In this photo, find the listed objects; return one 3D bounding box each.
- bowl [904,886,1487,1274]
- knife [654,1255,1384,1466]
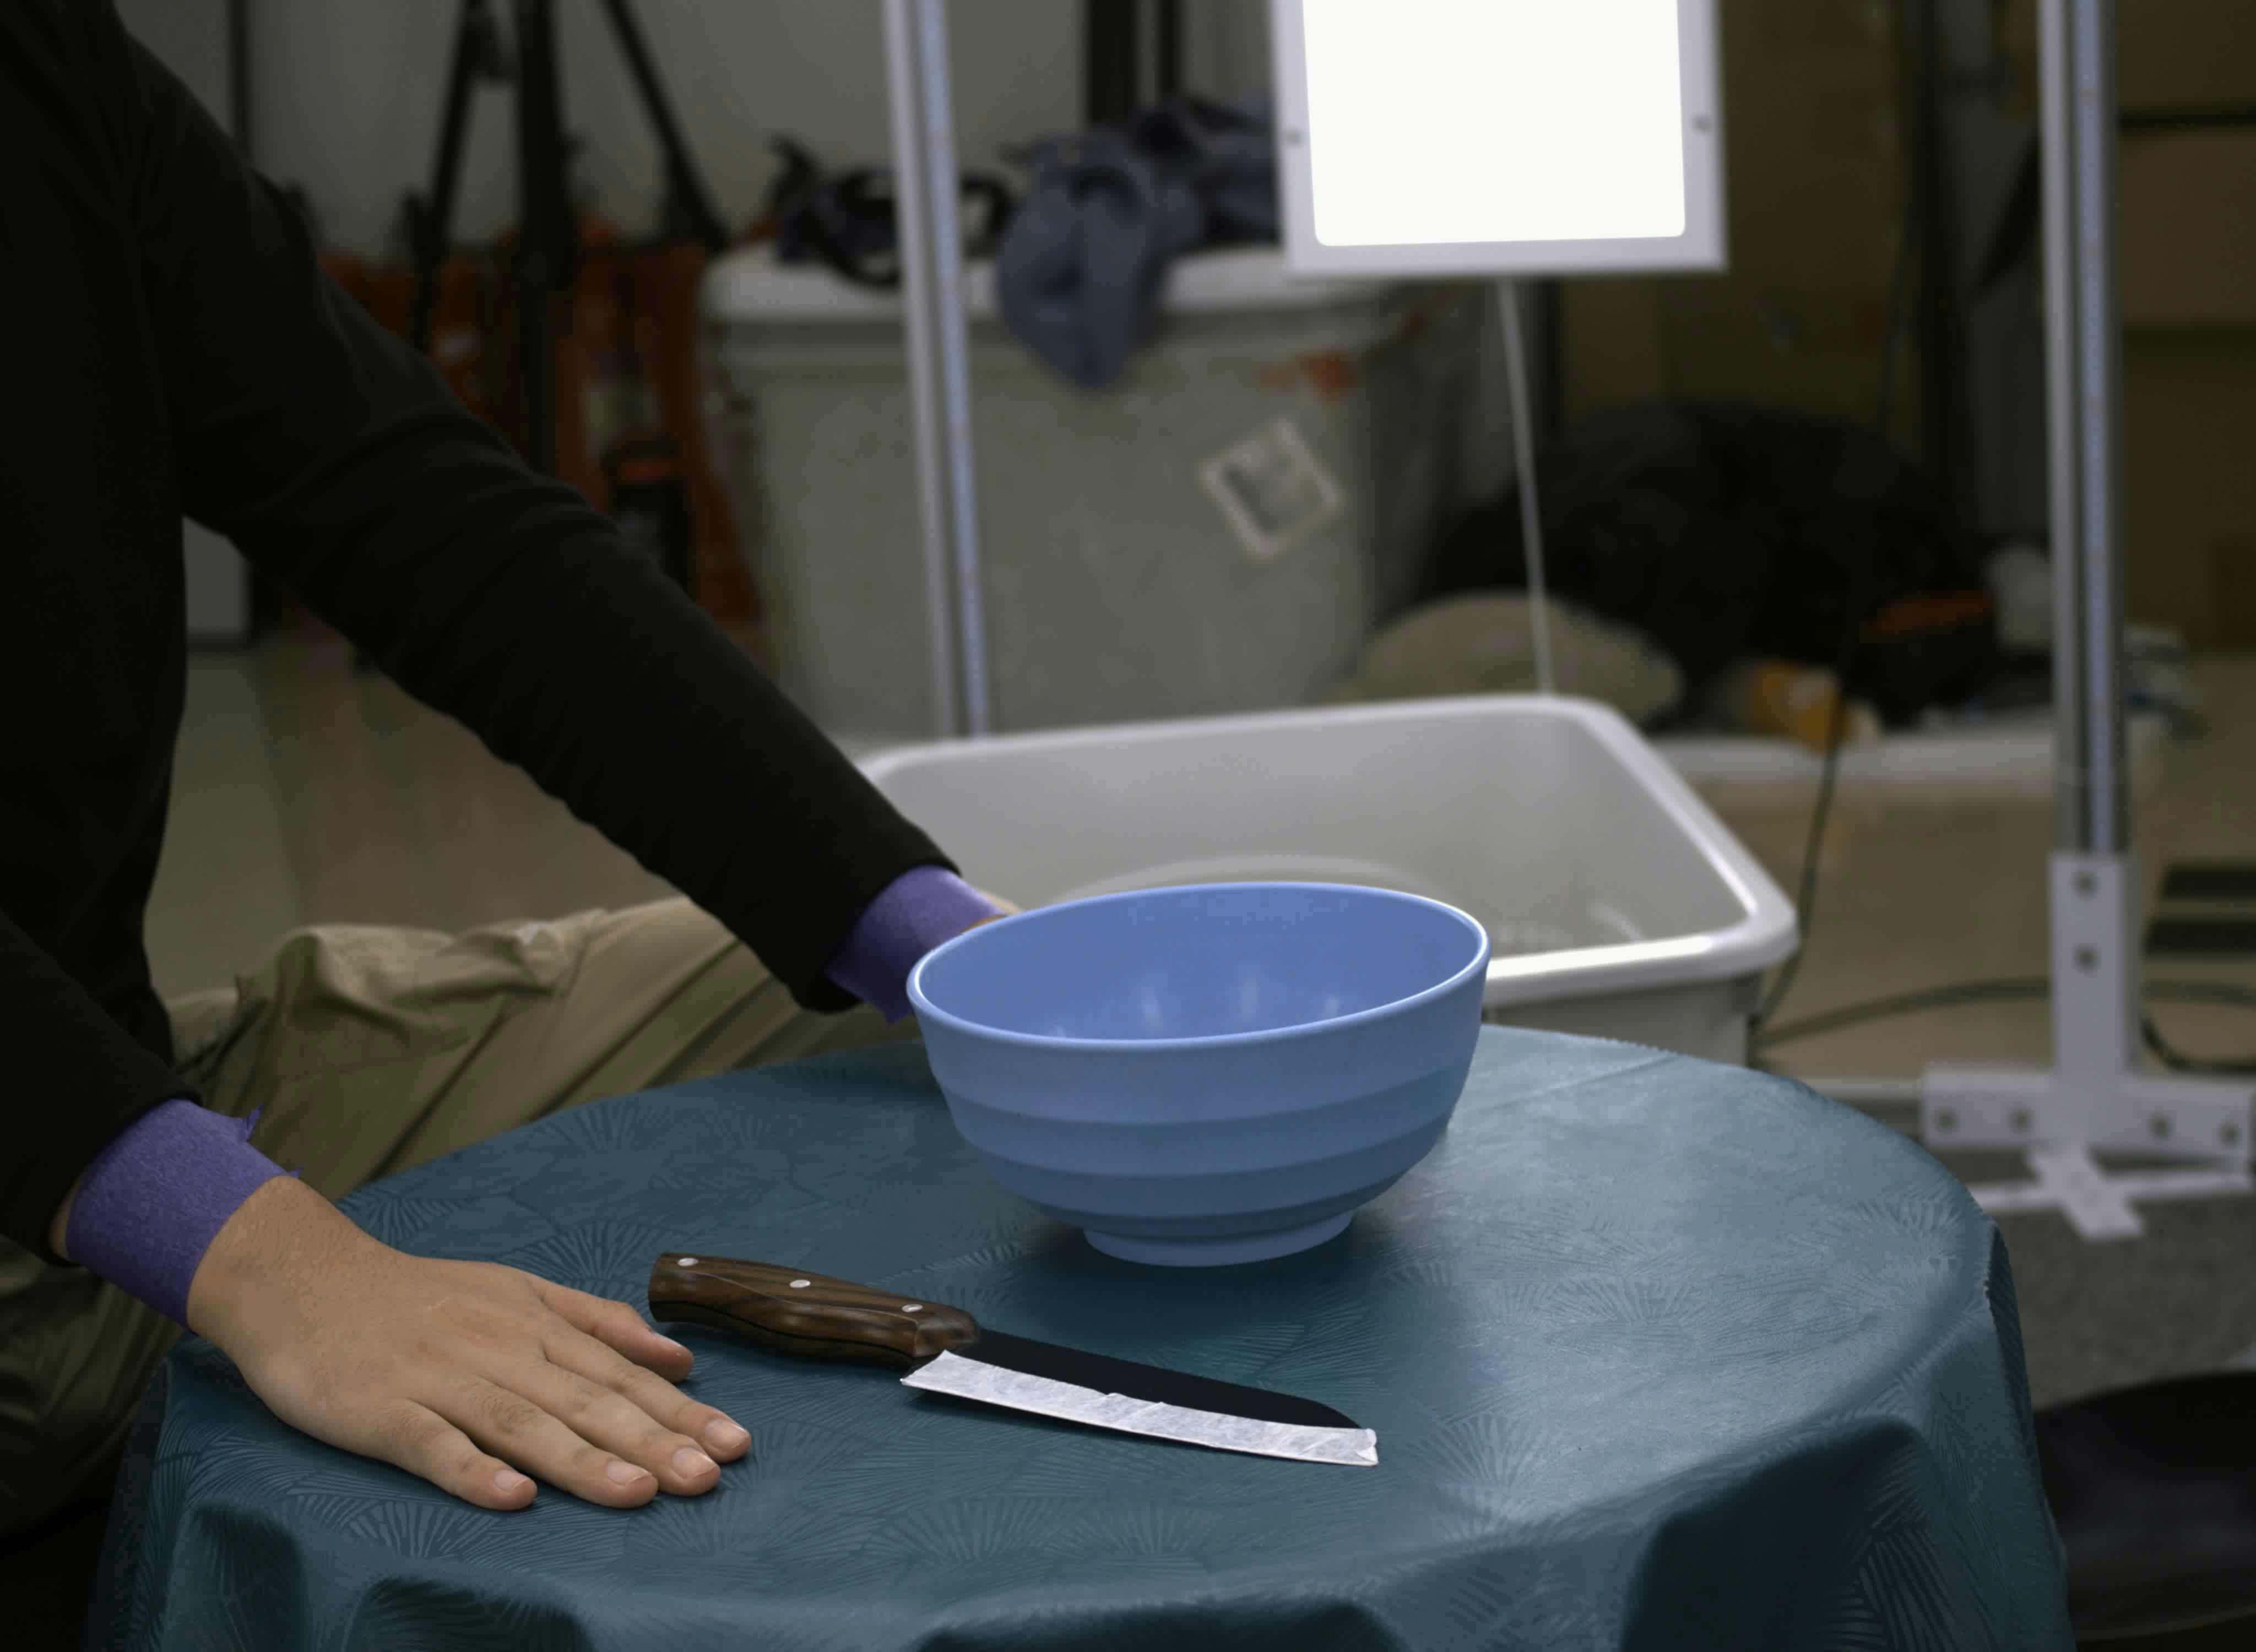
[{"bbox_3d":[0.027,0.091,1.845,0.196,0.096,0.196,-7,14,0],"label":"bowl"},{"bbox_3d":[-0.038,0.168,1.714,0.295,0.020,0.049,9,25,38],"label":"knife"}]
